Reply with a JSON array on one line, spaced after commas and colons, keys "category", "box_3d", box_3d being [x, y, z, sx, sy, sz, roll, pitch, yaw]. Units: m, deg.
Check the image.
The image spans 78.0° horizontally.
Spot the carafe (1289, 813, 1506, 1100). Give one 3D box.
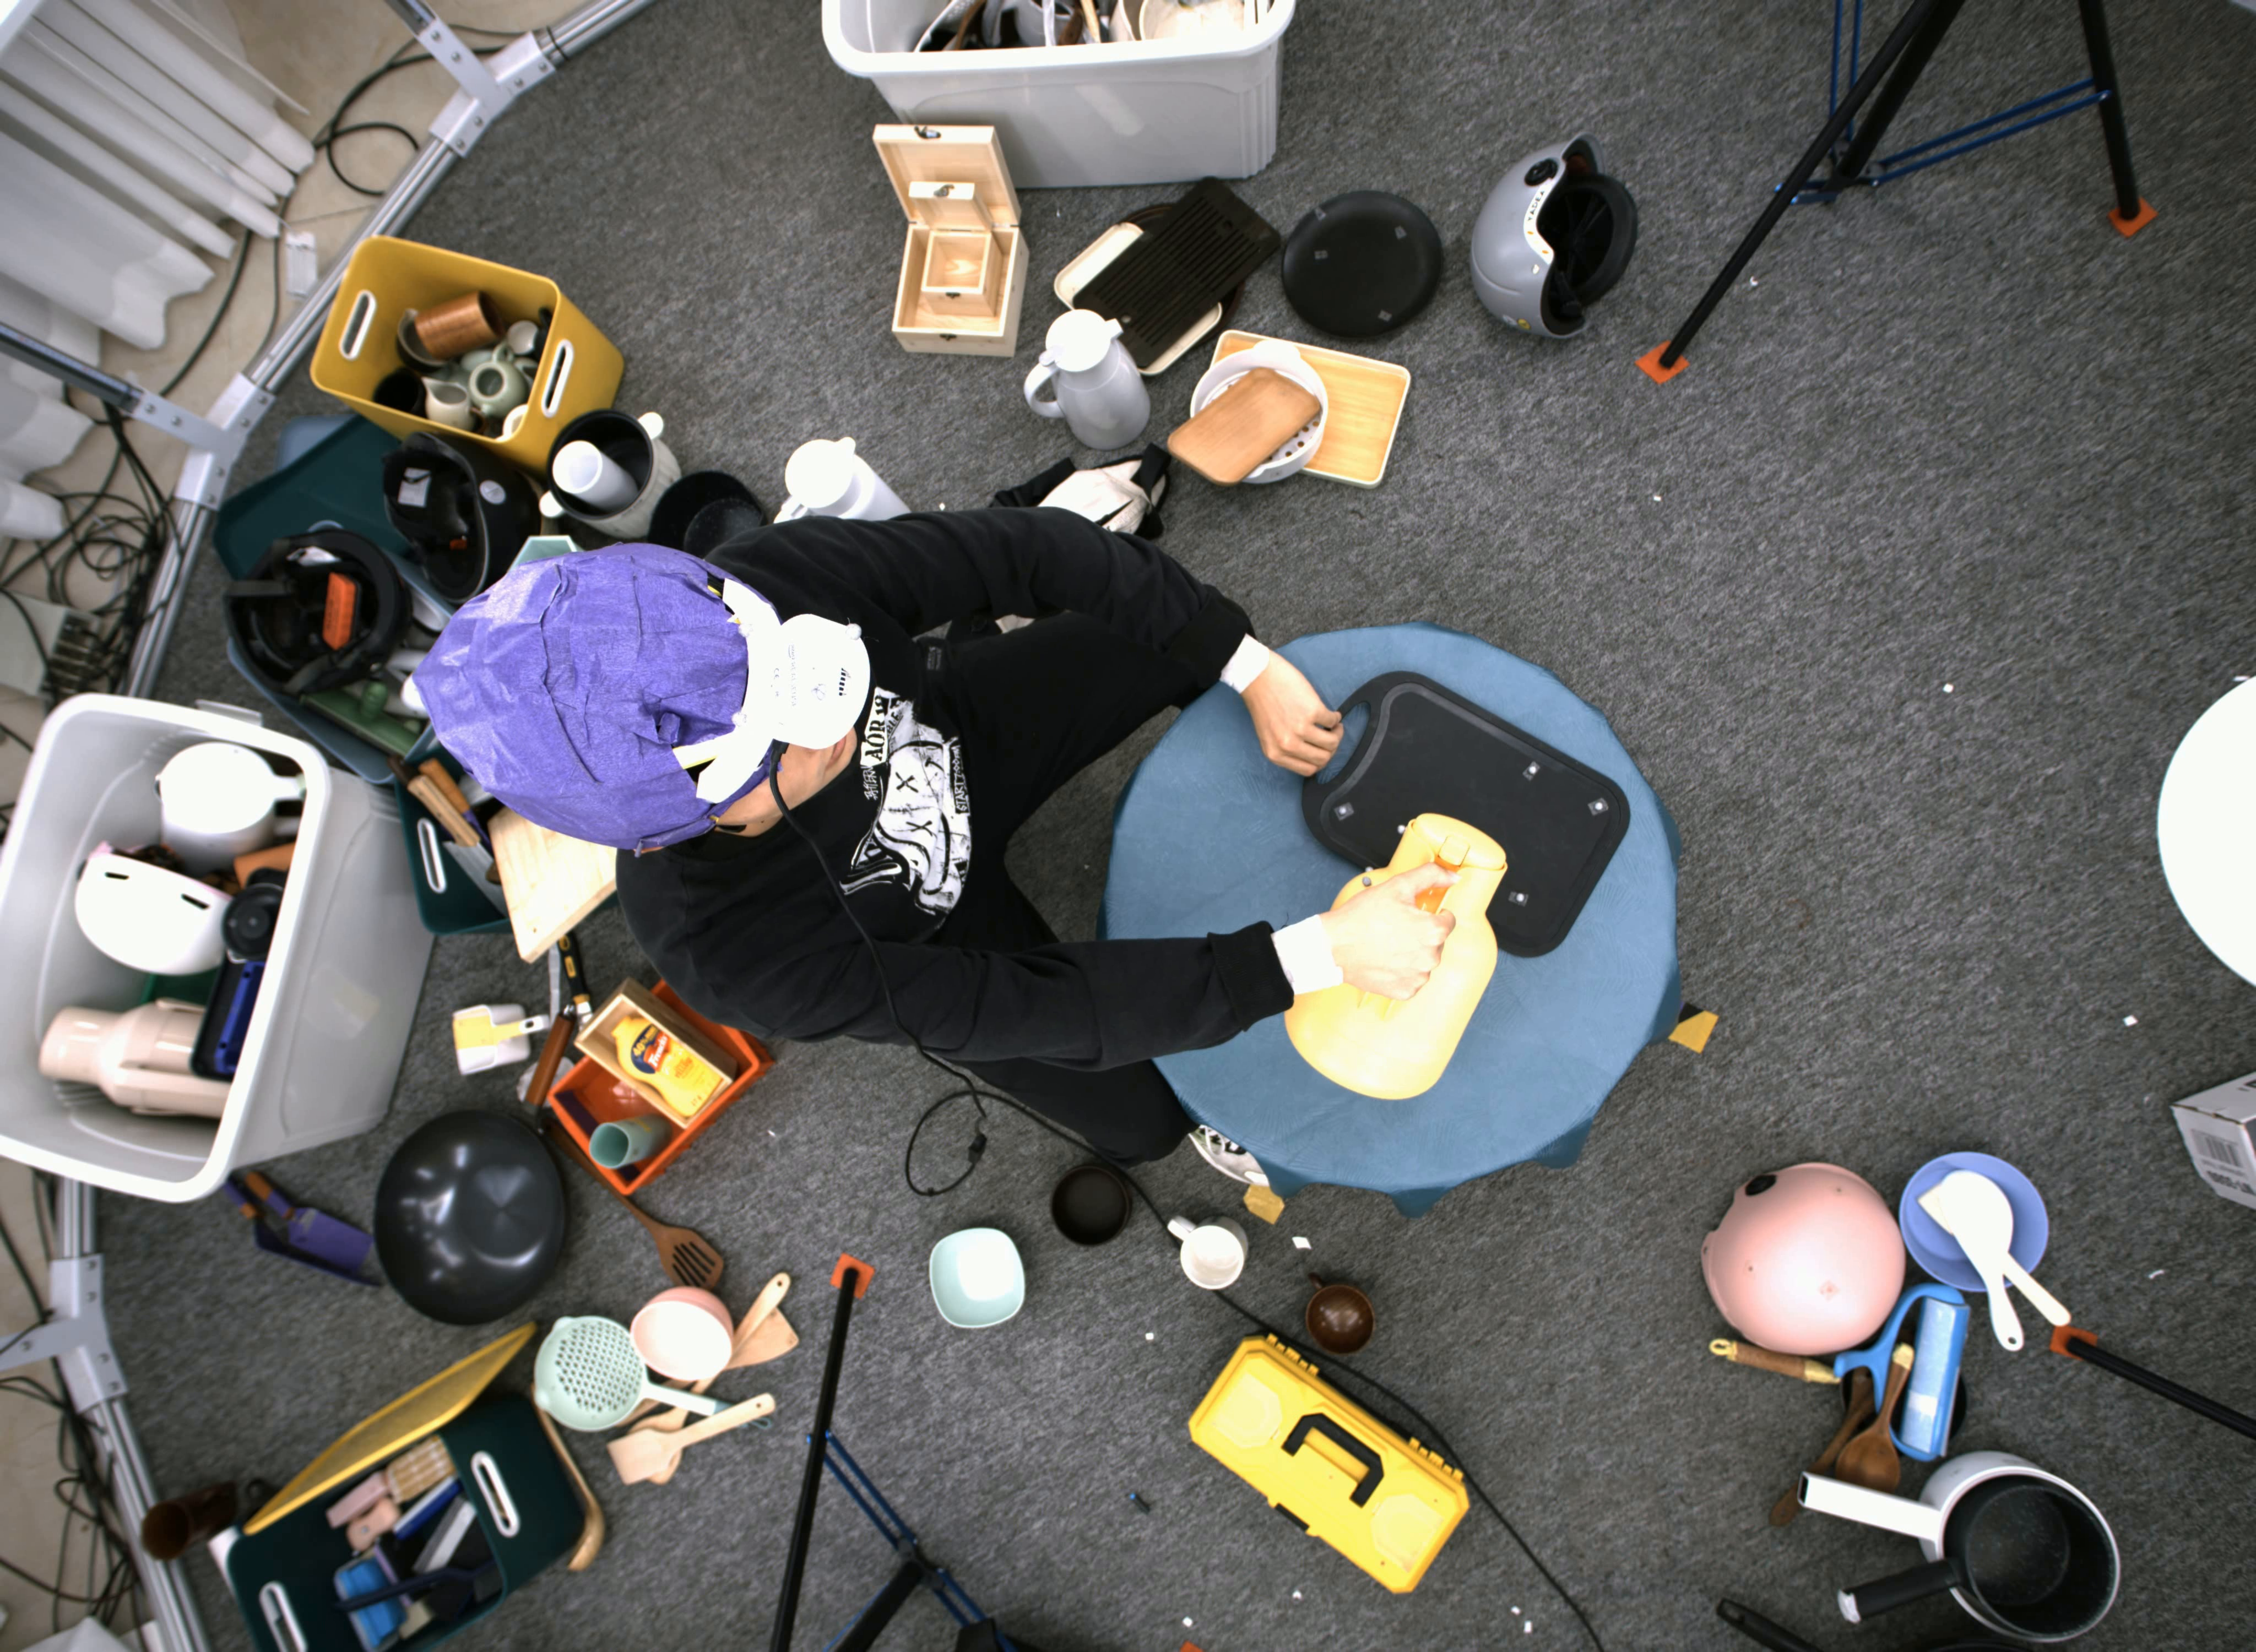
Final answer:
[{"category": "carafe", "box_3d": [0.254, 0.120, 1.282, 0.163, 0.199, 0.265, 26, 112, 17]}]

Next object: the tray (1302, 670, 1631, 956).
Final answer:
[{"category": "tray", "box_3d": [0.345, -0.021, 1.437, 0.325, 0.010, 0.211, 31, 93, 7]}]
